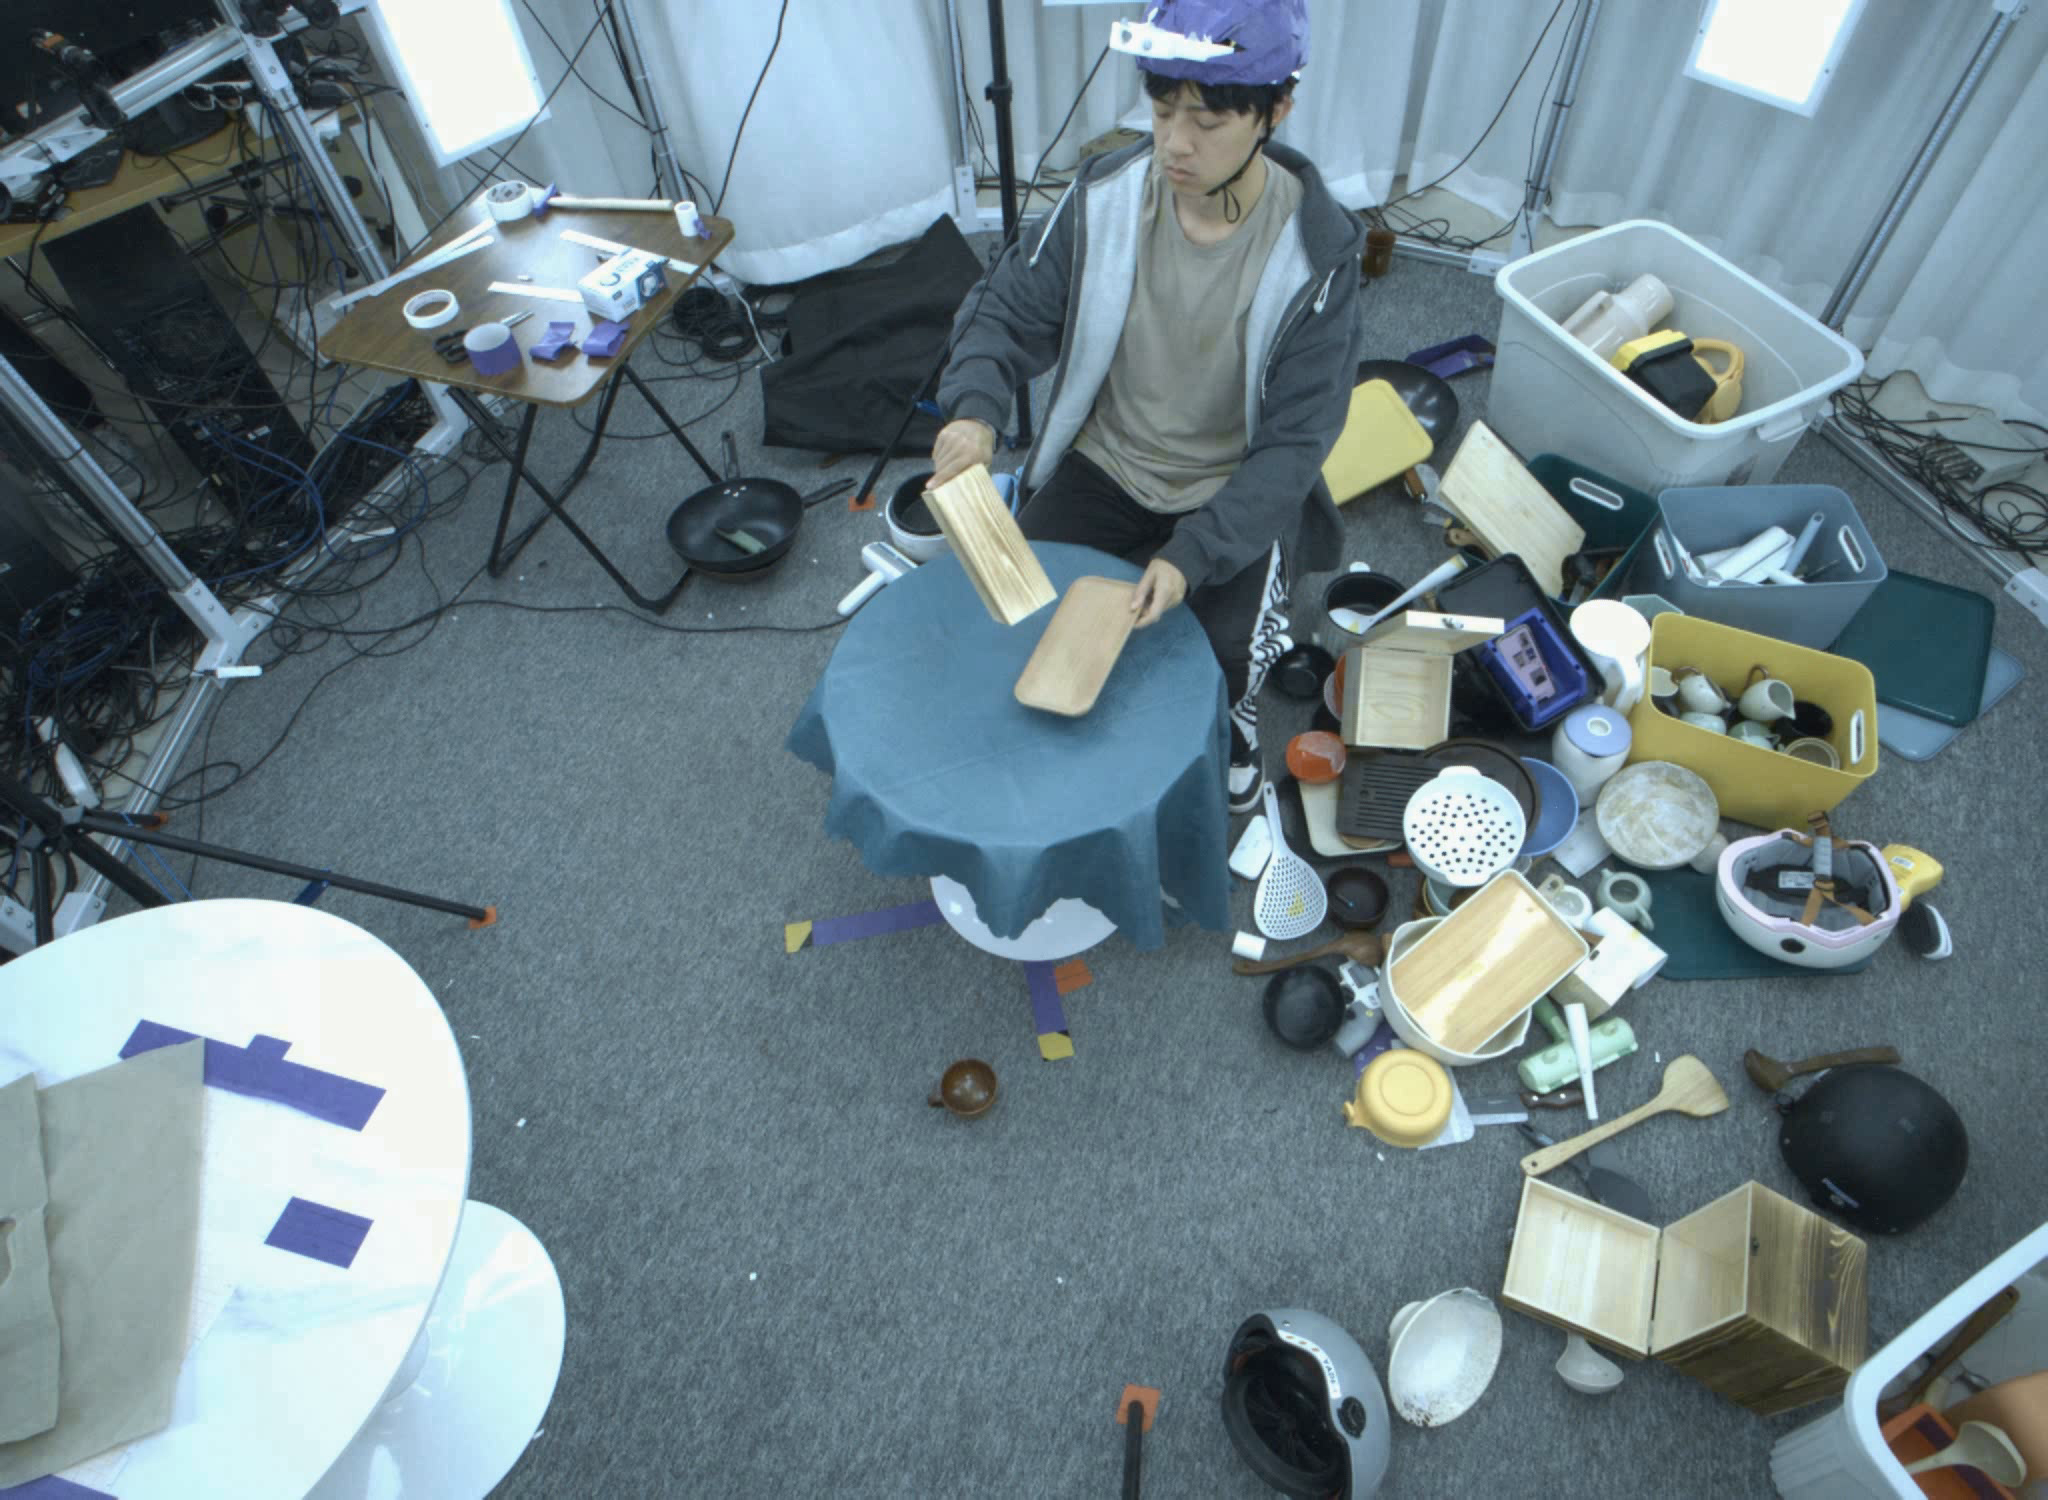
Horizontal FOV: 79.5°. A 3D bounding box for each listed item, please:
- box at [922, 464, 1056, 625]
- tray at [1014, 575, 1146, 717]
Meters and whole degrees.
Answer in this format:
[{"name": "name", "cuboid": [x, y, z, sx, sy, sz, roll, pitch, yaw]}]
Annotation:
[{"name": "box", "cuboid": [-0.052, -0.288, 1.715, 0.080, 0.214, 0.106, -33, 17, -6]}, {"name": "tray", "cuboid": [0.085, -0.158, 1.833, 0.128, 0.023, 0.251, 17, 63, 22]}]
